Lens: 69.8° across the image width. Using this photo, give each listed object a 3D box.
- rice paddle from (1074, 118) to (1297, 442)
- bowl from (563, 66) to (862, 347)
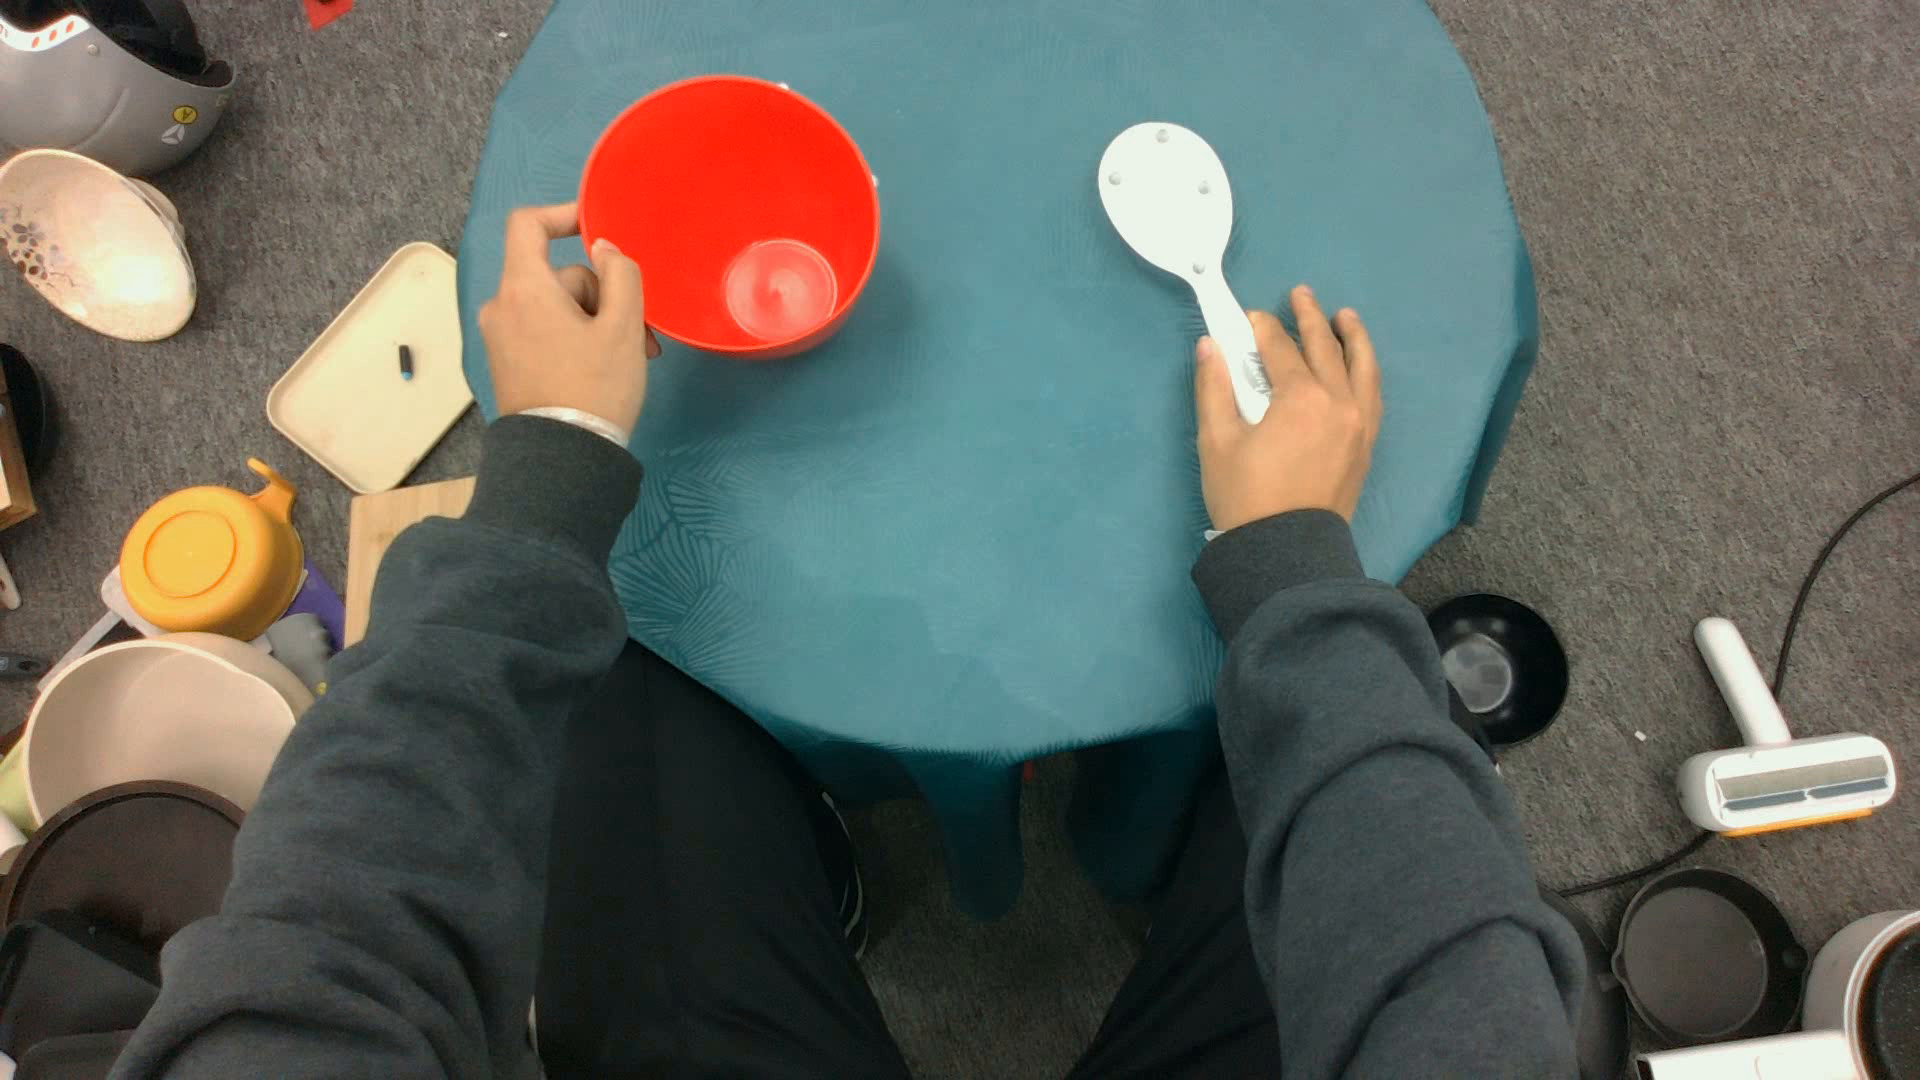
[{"bbox_3d":[0.124,-0.149,0.754,0.069,0.029,0.205,-23,74,-4],"label":"rice paddle"},{"bbox_3d":[-0.123,-0.162,0.734,0.148,0.104,0.148,0,75,0],"label":"bowl"}]
